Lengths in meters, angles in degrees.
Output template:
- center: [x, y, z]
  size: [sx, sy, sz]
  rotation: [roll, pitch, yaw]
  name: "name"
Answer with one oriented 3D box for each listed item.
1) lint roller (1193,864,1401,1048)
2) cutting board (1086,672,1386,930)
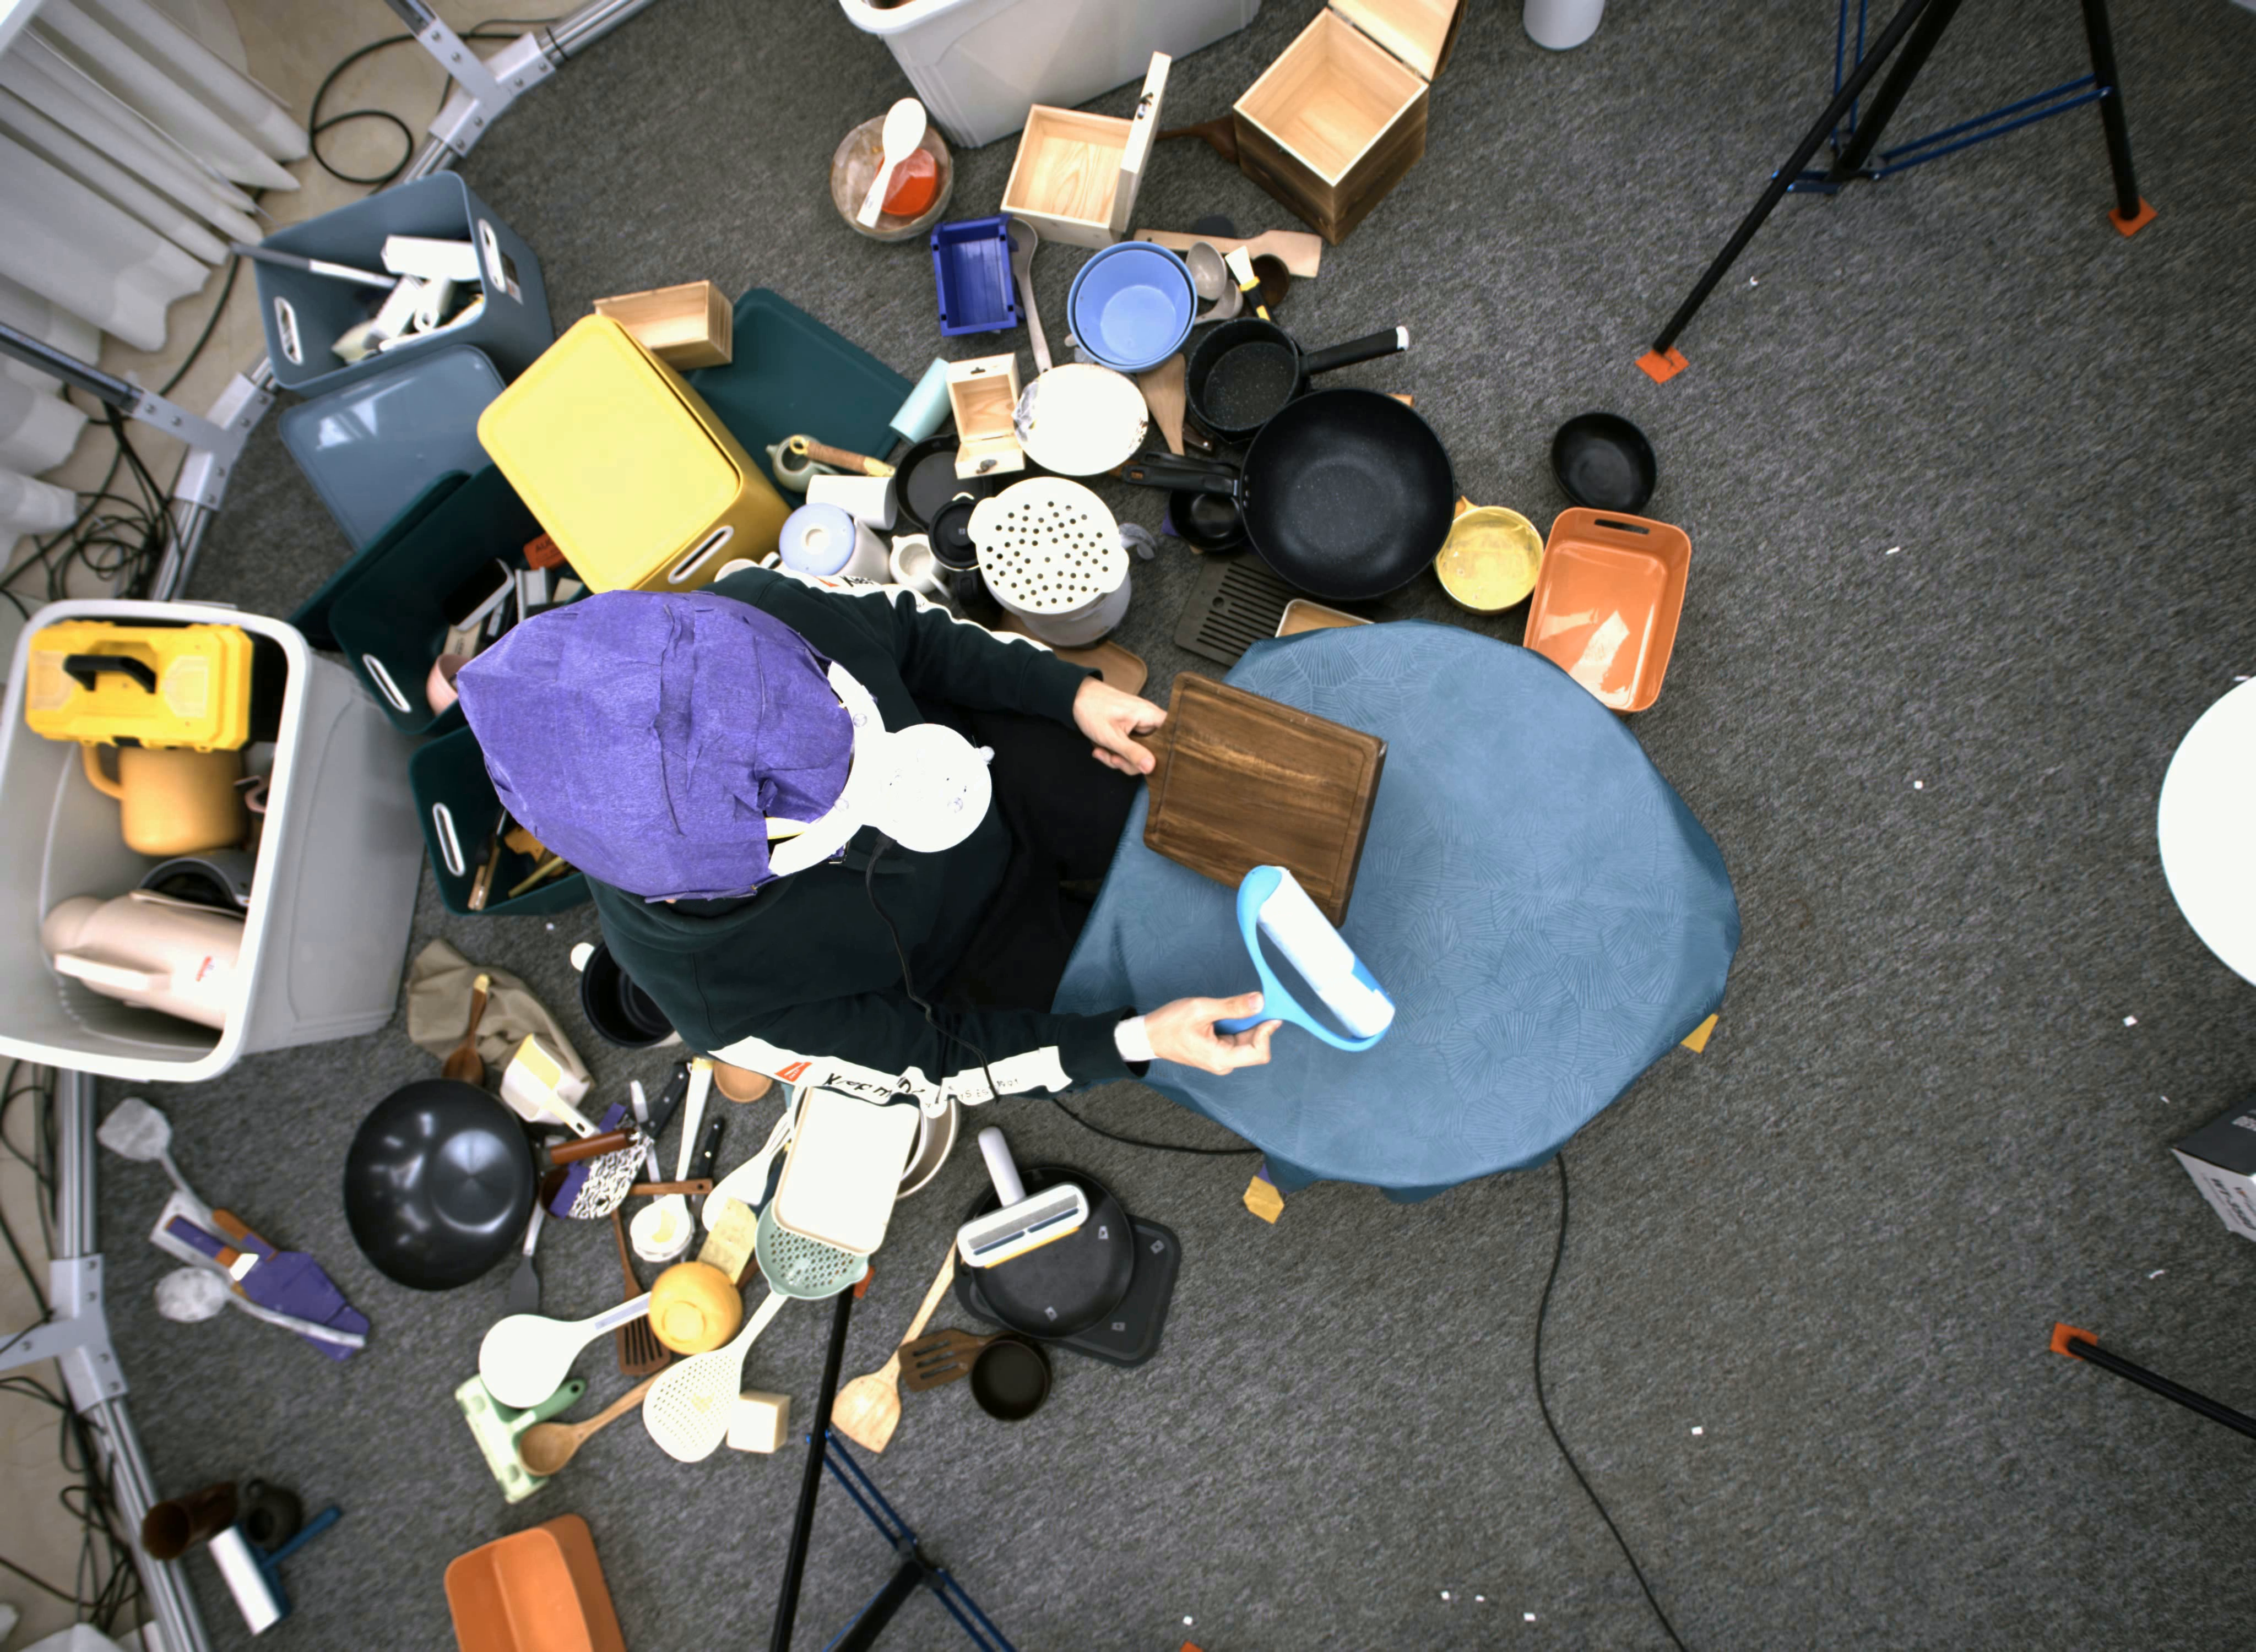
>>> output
- center: [0.142, 0.157, 1.334]
  size: [0.182, 0.066, 0.231]
  rotation: [-39, 116, 13]
  name: "lint roller"
- center: [0.091, -0.044, 1.404]
  size: [0.351, 0.023, 0.204]
  rotation: [24, 115, 35]
  name: "cutting board"
